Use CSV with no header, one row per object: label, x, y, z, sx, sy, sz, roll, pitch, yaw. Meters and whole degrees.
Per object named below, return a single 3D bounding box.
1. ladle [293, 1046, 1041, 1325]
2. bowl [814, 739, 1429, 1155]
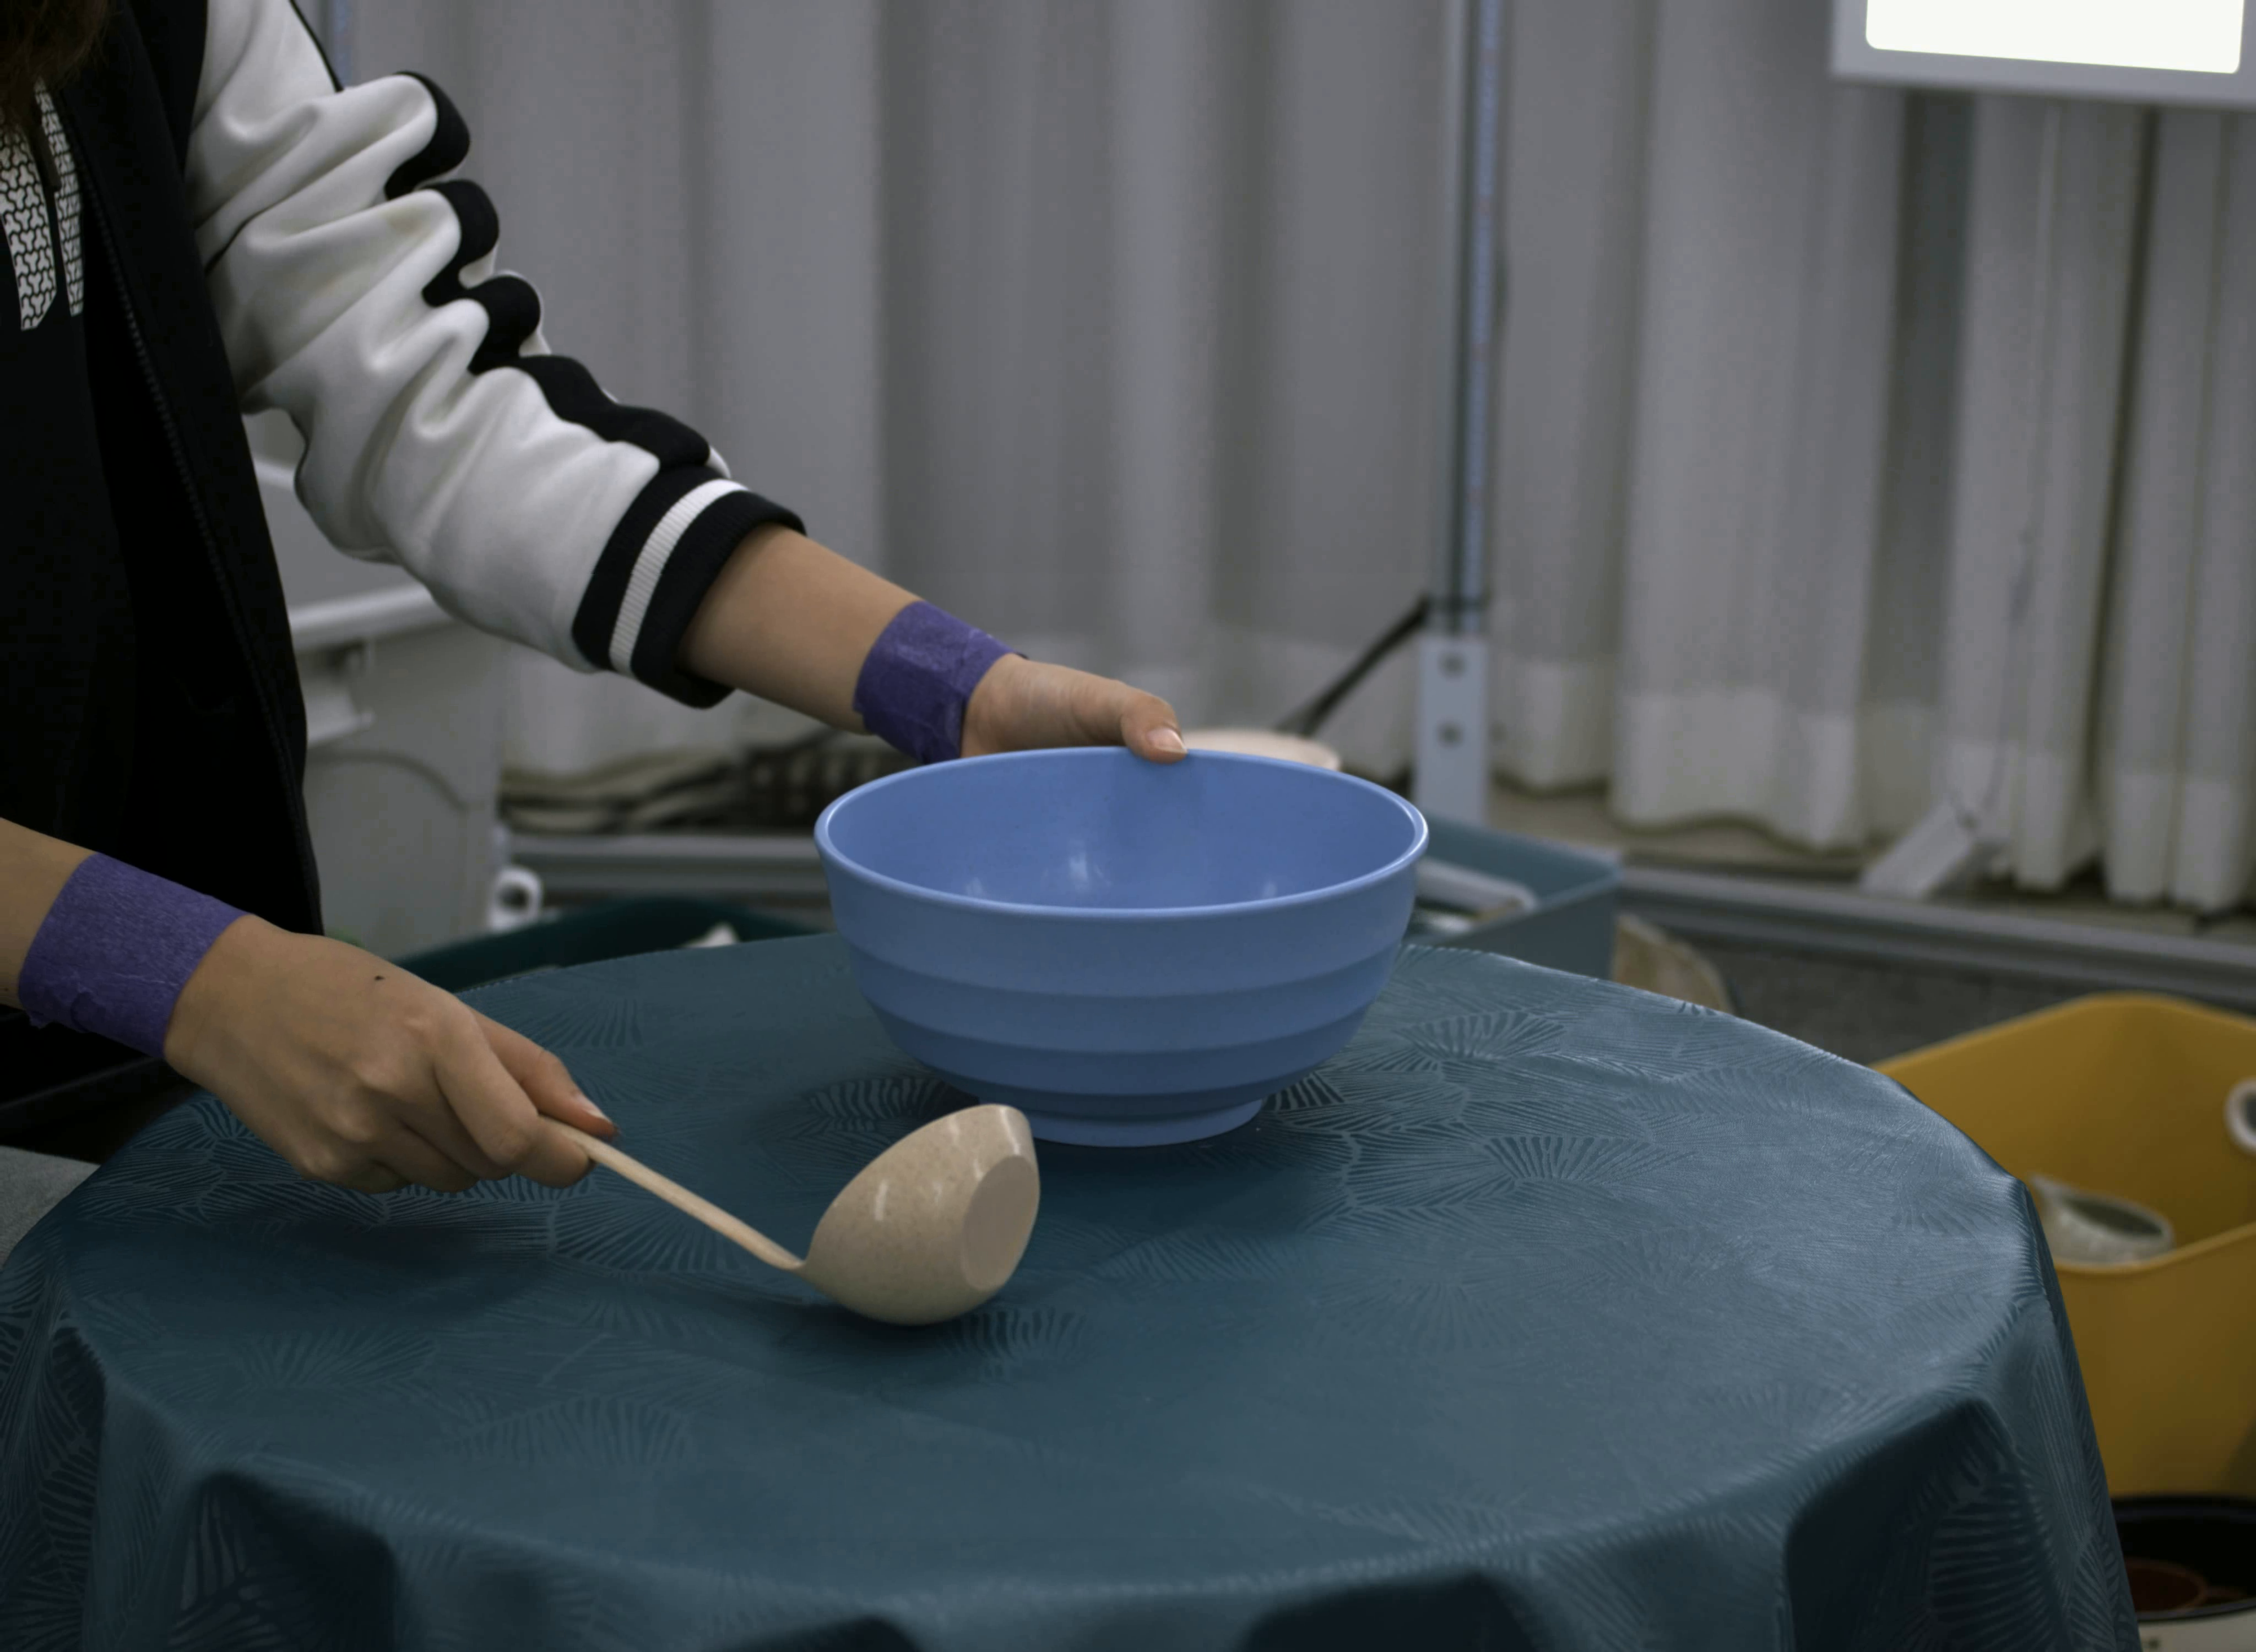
ladle,-0.138,0.077,1.548,0.251,0.073,0.073,21,-2,29
bowl,-0.002,0.045,1.691,0.196,0.096,0.195,0,18,0
